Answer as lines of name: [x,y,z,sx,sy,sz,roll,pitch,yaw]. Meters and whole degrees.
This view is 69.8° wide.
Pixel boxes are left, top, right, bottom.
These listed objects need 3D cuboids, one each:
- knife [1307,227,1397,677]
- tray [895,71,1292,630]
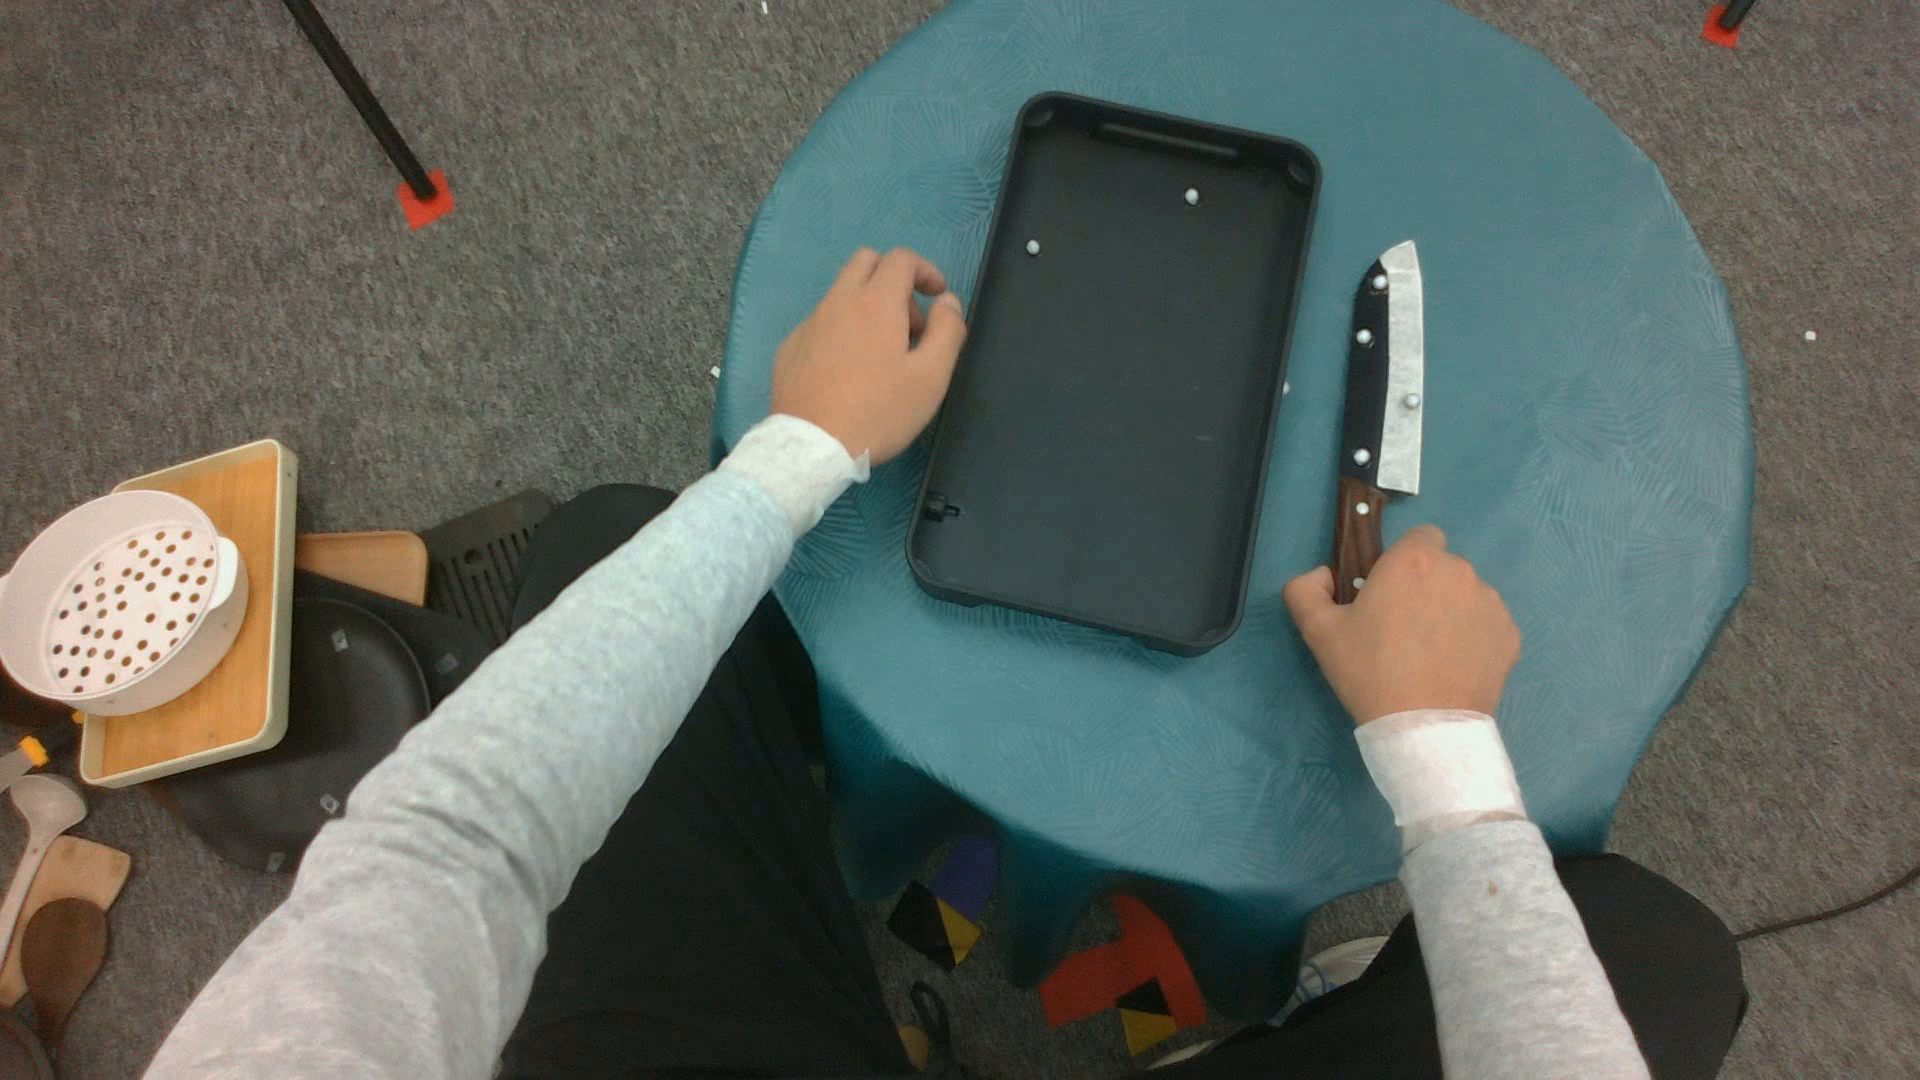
knife: [0.224,-0.059,0.784,0.050,0.020,0.290,11,68,1]
tray: [0.080,-0.114,0.786,0.184,0.037,0.319,11,72,1]
